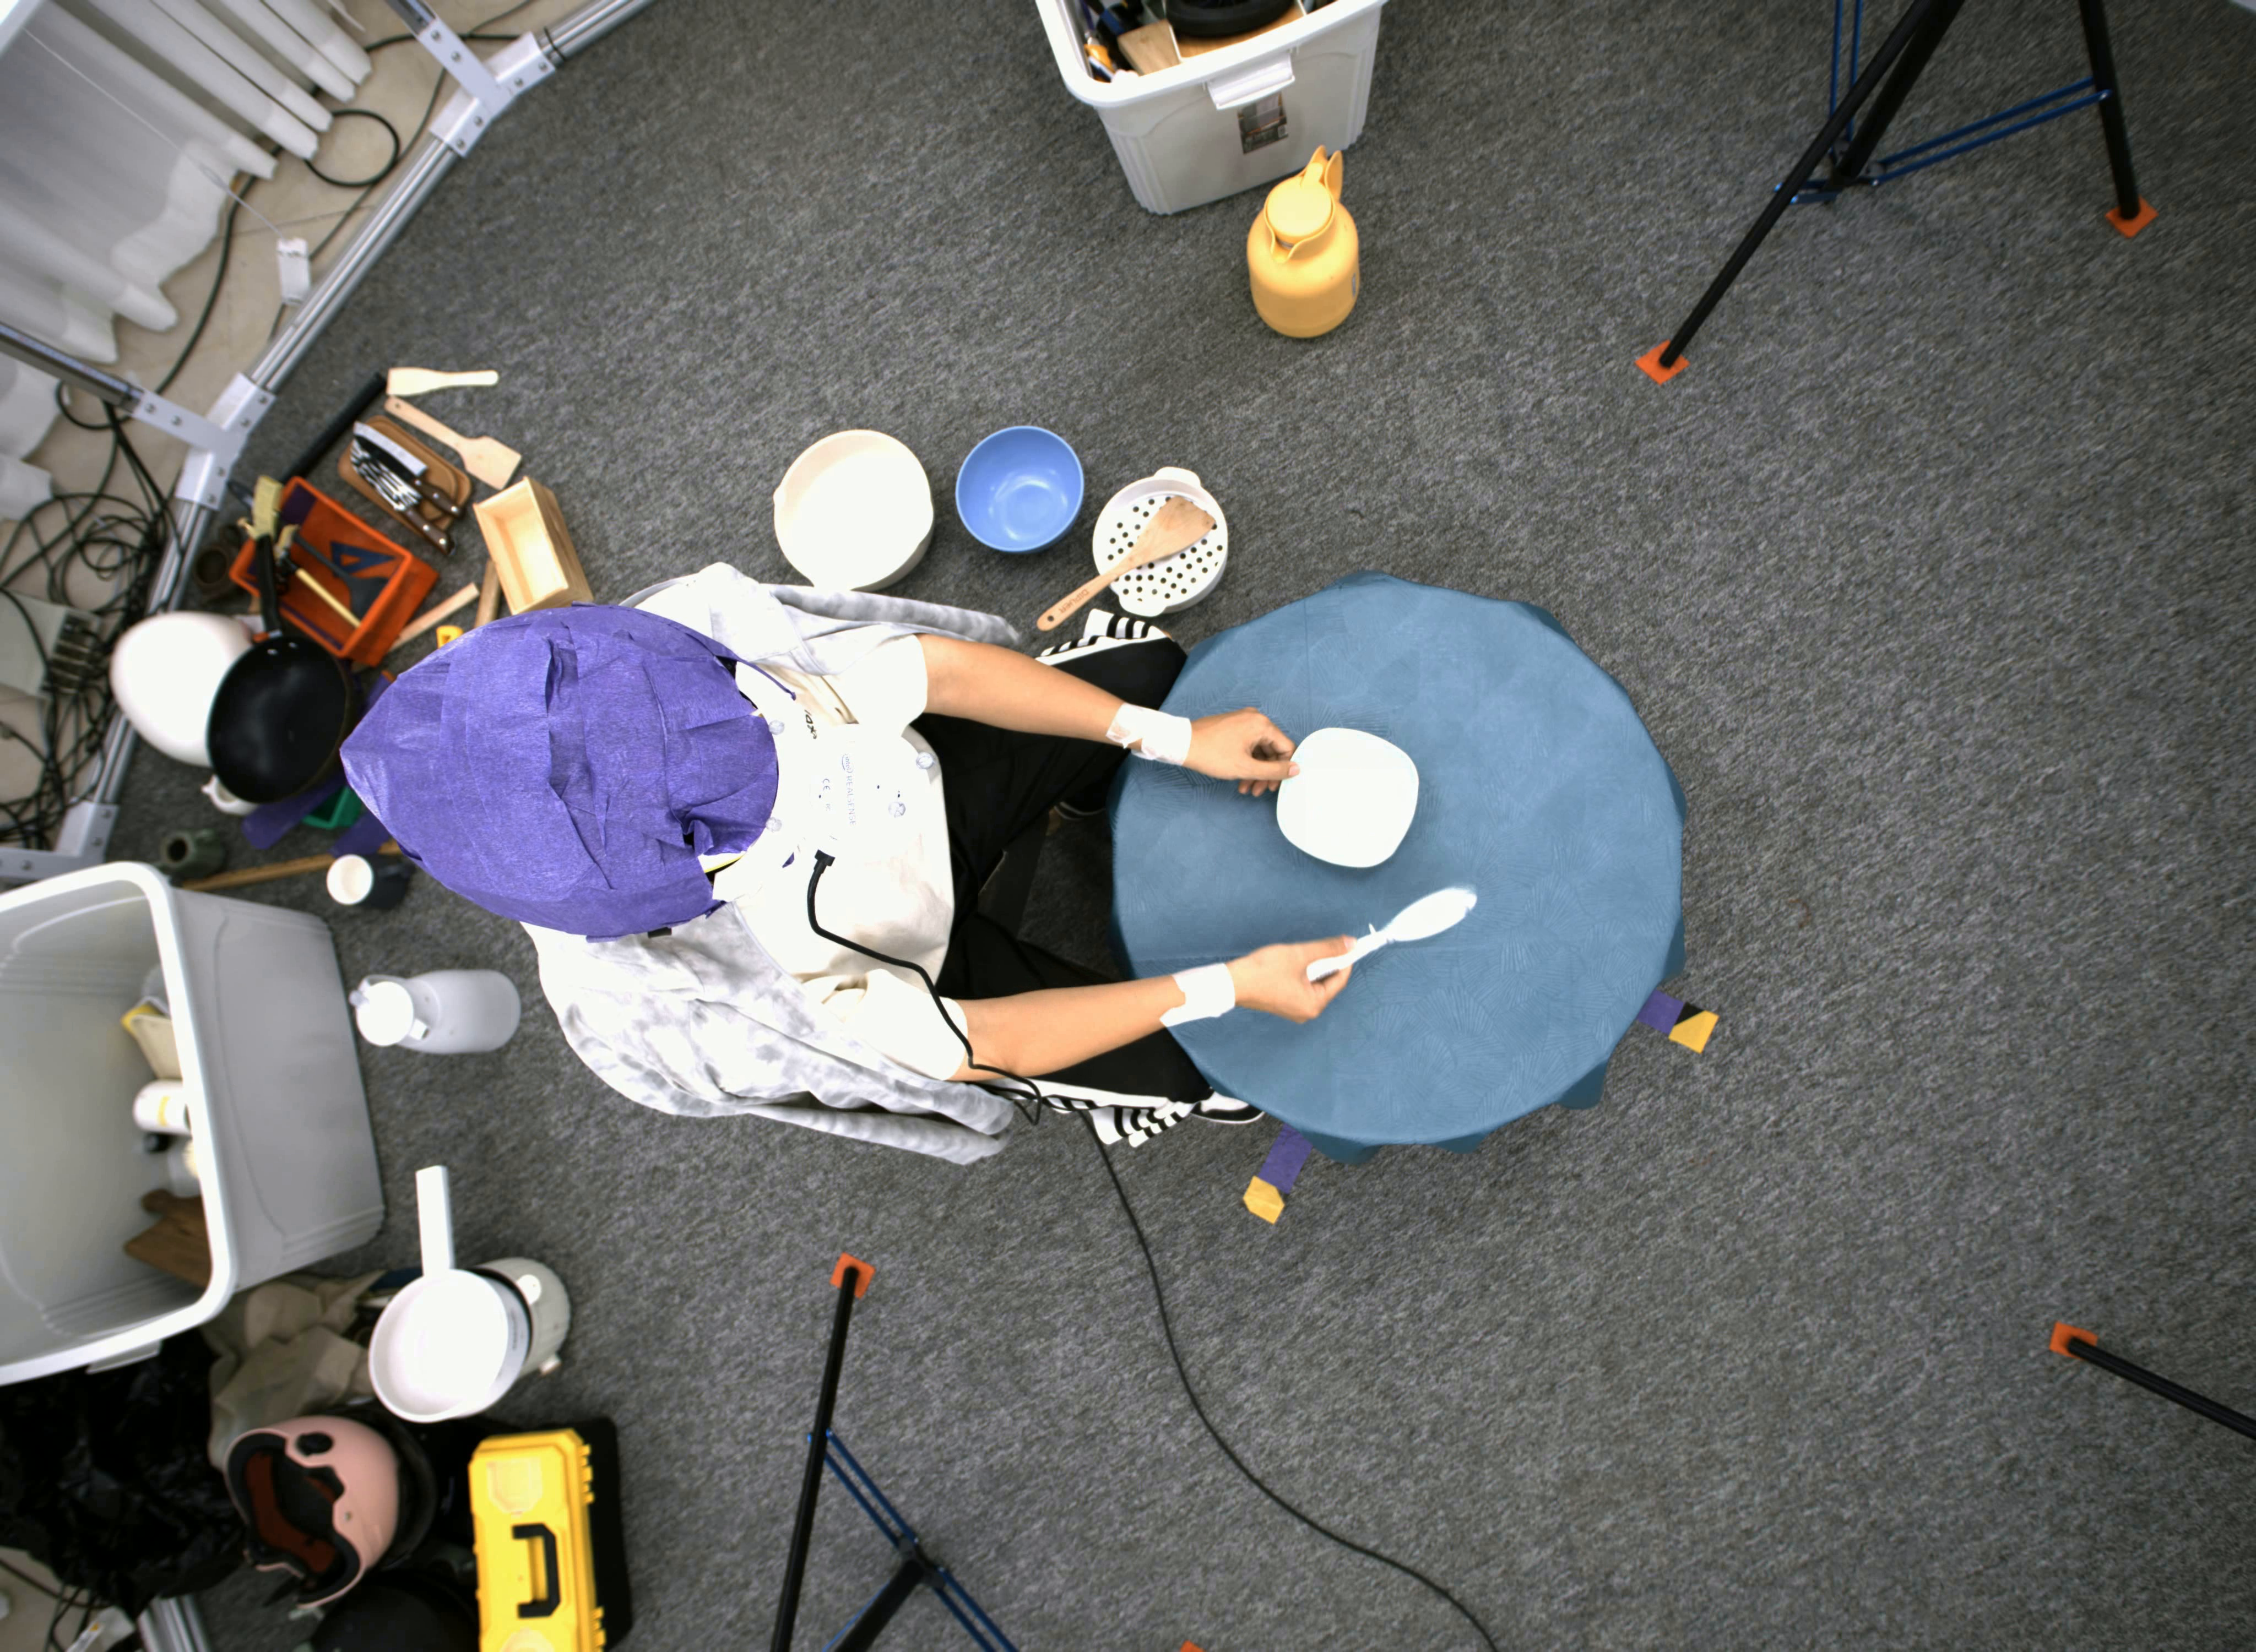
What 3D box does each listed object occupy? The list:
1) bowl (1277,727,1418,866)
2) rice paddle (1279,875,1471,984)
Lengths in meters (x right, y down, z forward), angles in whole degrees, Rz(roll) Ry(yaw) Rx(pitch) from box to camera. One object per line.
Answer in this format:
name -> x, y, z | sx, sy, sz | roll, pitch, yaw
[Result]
bowl -> 0.228, -0.030, 1.442 | 0.152, 0.058, 0.151 | 0, 88, 8
rice paddle -> 0.248, 0.099, 1.368 | 0.206, 0.070, 0.029 | -26, 58, 4
